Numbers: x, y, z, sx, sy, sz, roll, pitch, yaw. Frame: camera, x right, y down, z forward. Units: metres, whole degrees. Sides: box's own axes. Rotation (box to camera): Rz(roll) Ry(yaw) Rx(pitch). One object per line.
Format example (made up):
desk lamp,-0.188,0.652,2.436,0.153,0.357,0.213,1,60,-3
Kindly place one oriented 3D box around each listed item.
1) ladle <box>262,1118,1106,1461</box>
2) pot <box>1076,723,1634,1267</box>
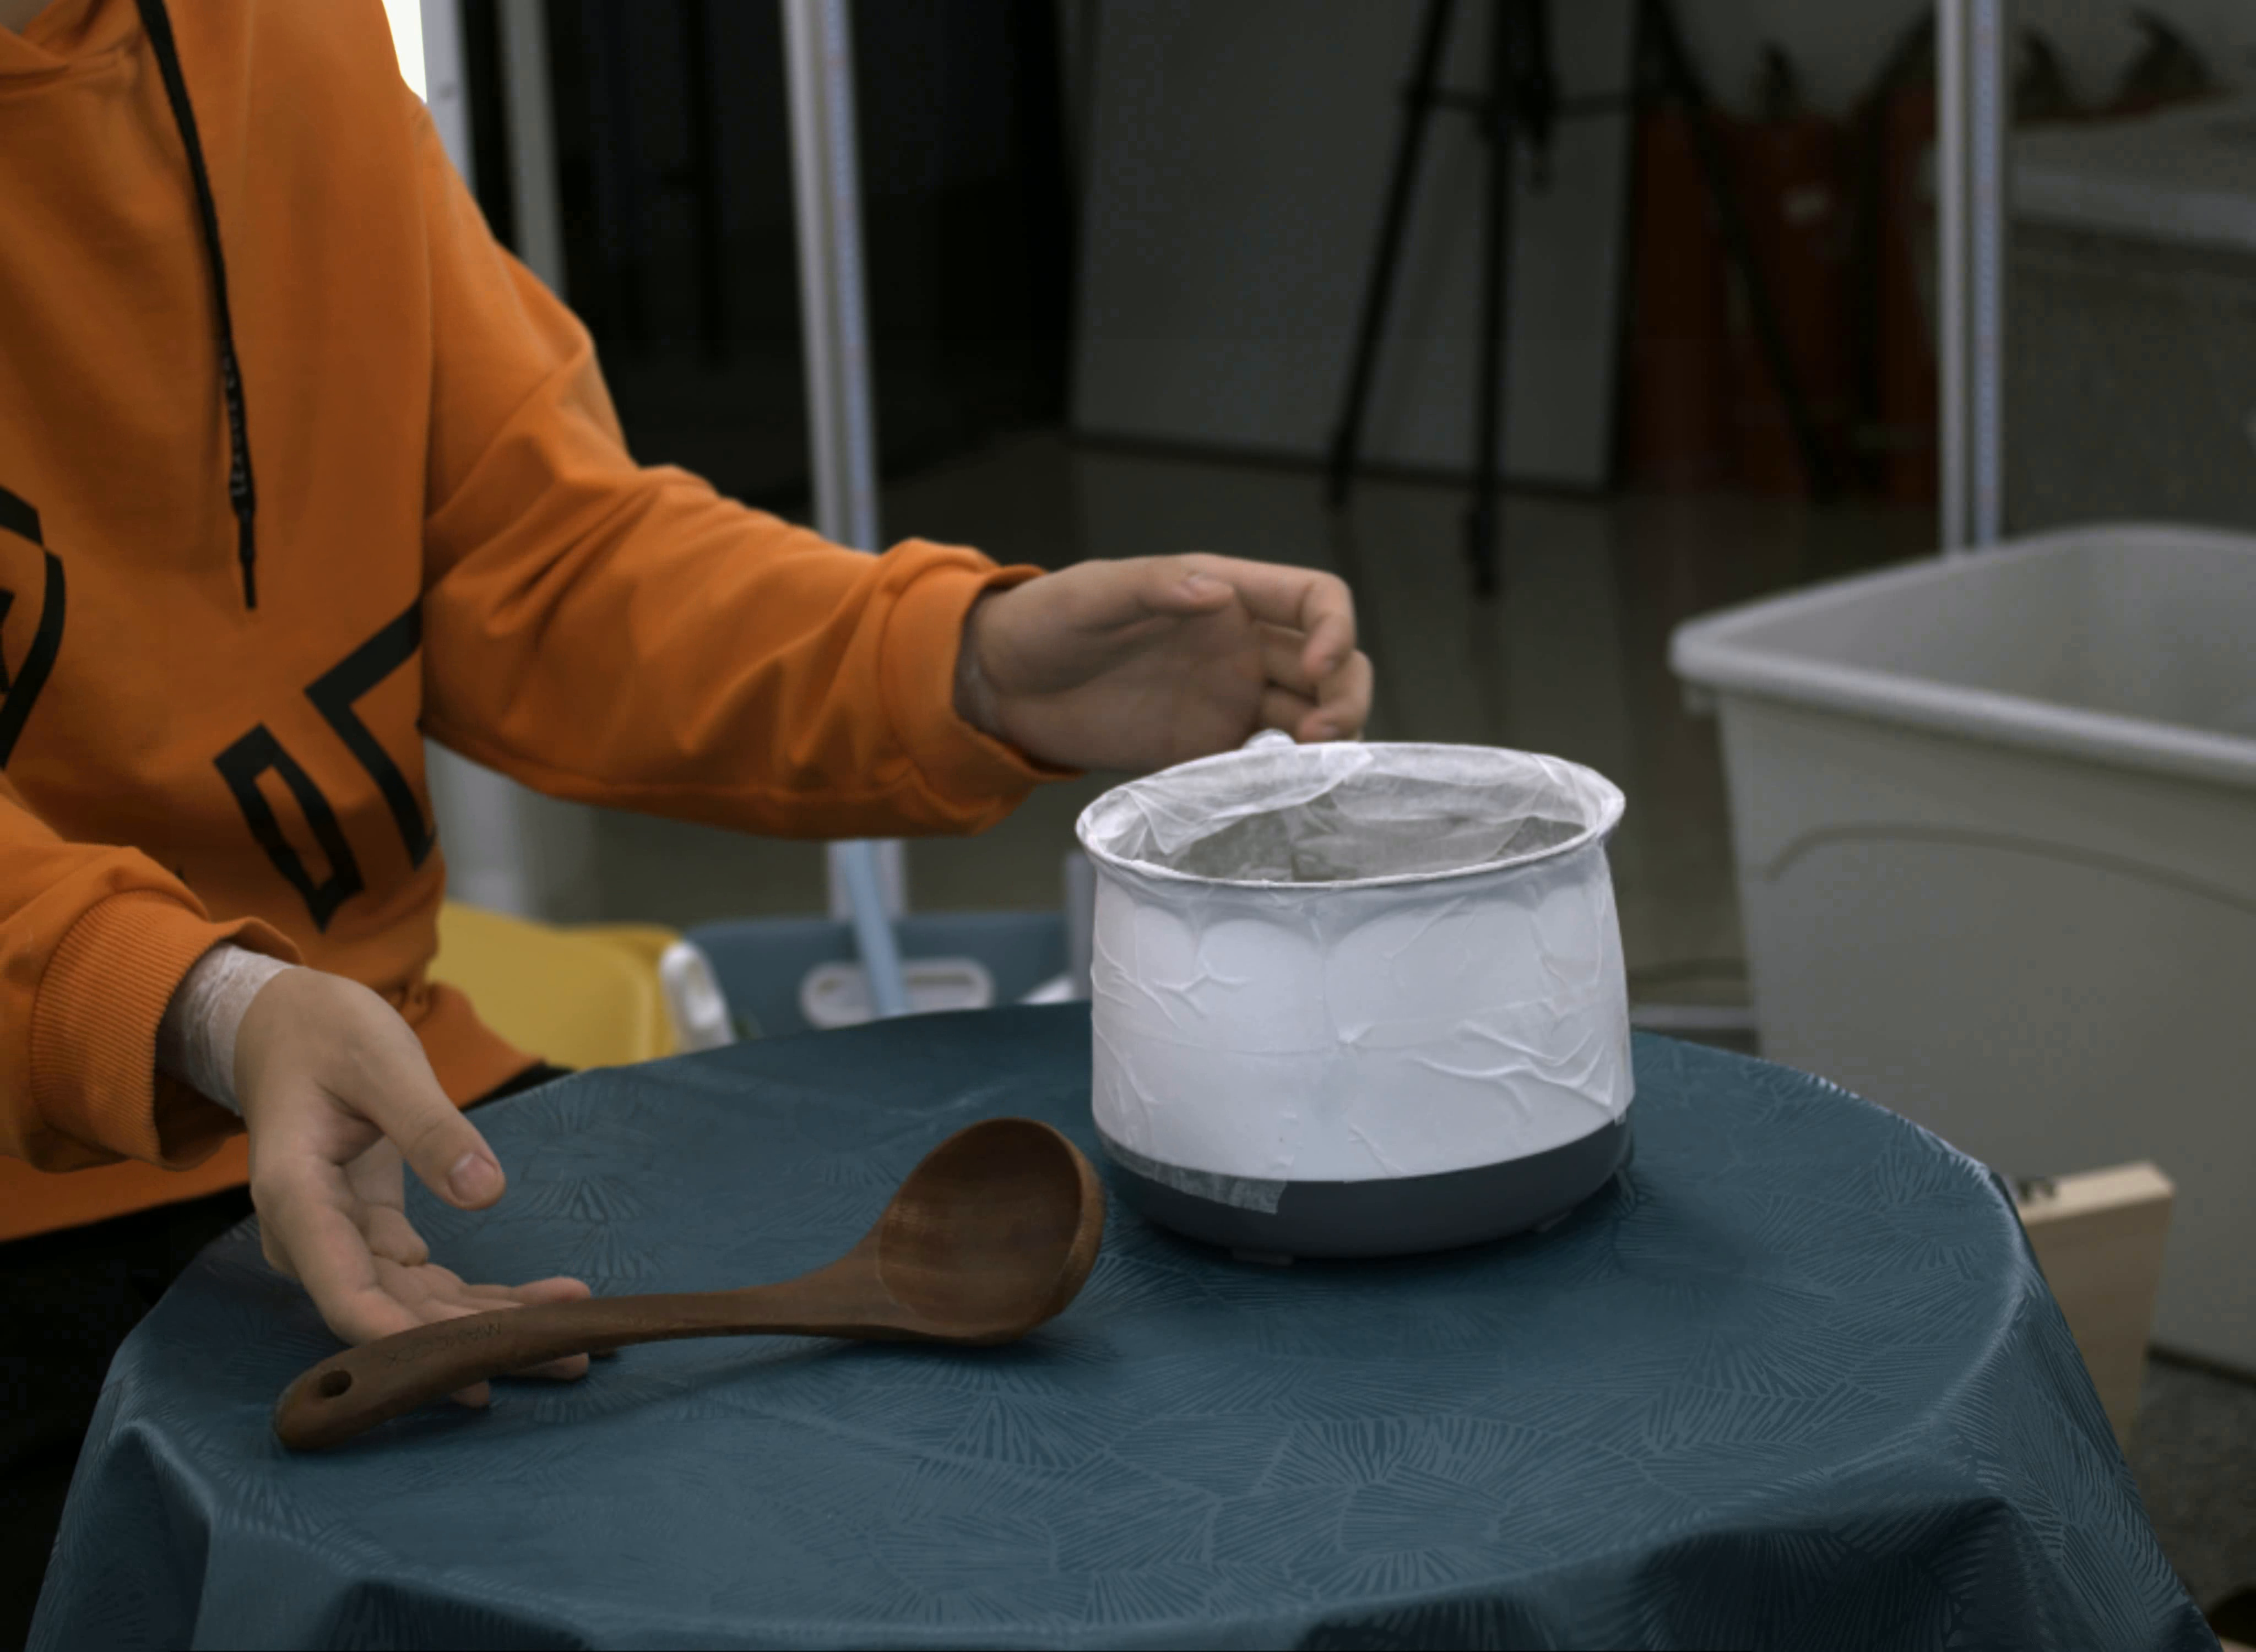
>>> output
ladle,-0.130,0.139,1.609,0.255,0.065,0.077,-8,39,-18
pot,0.067,0.049,1.756,0.175,0.138,0.235,-7,14,-13
